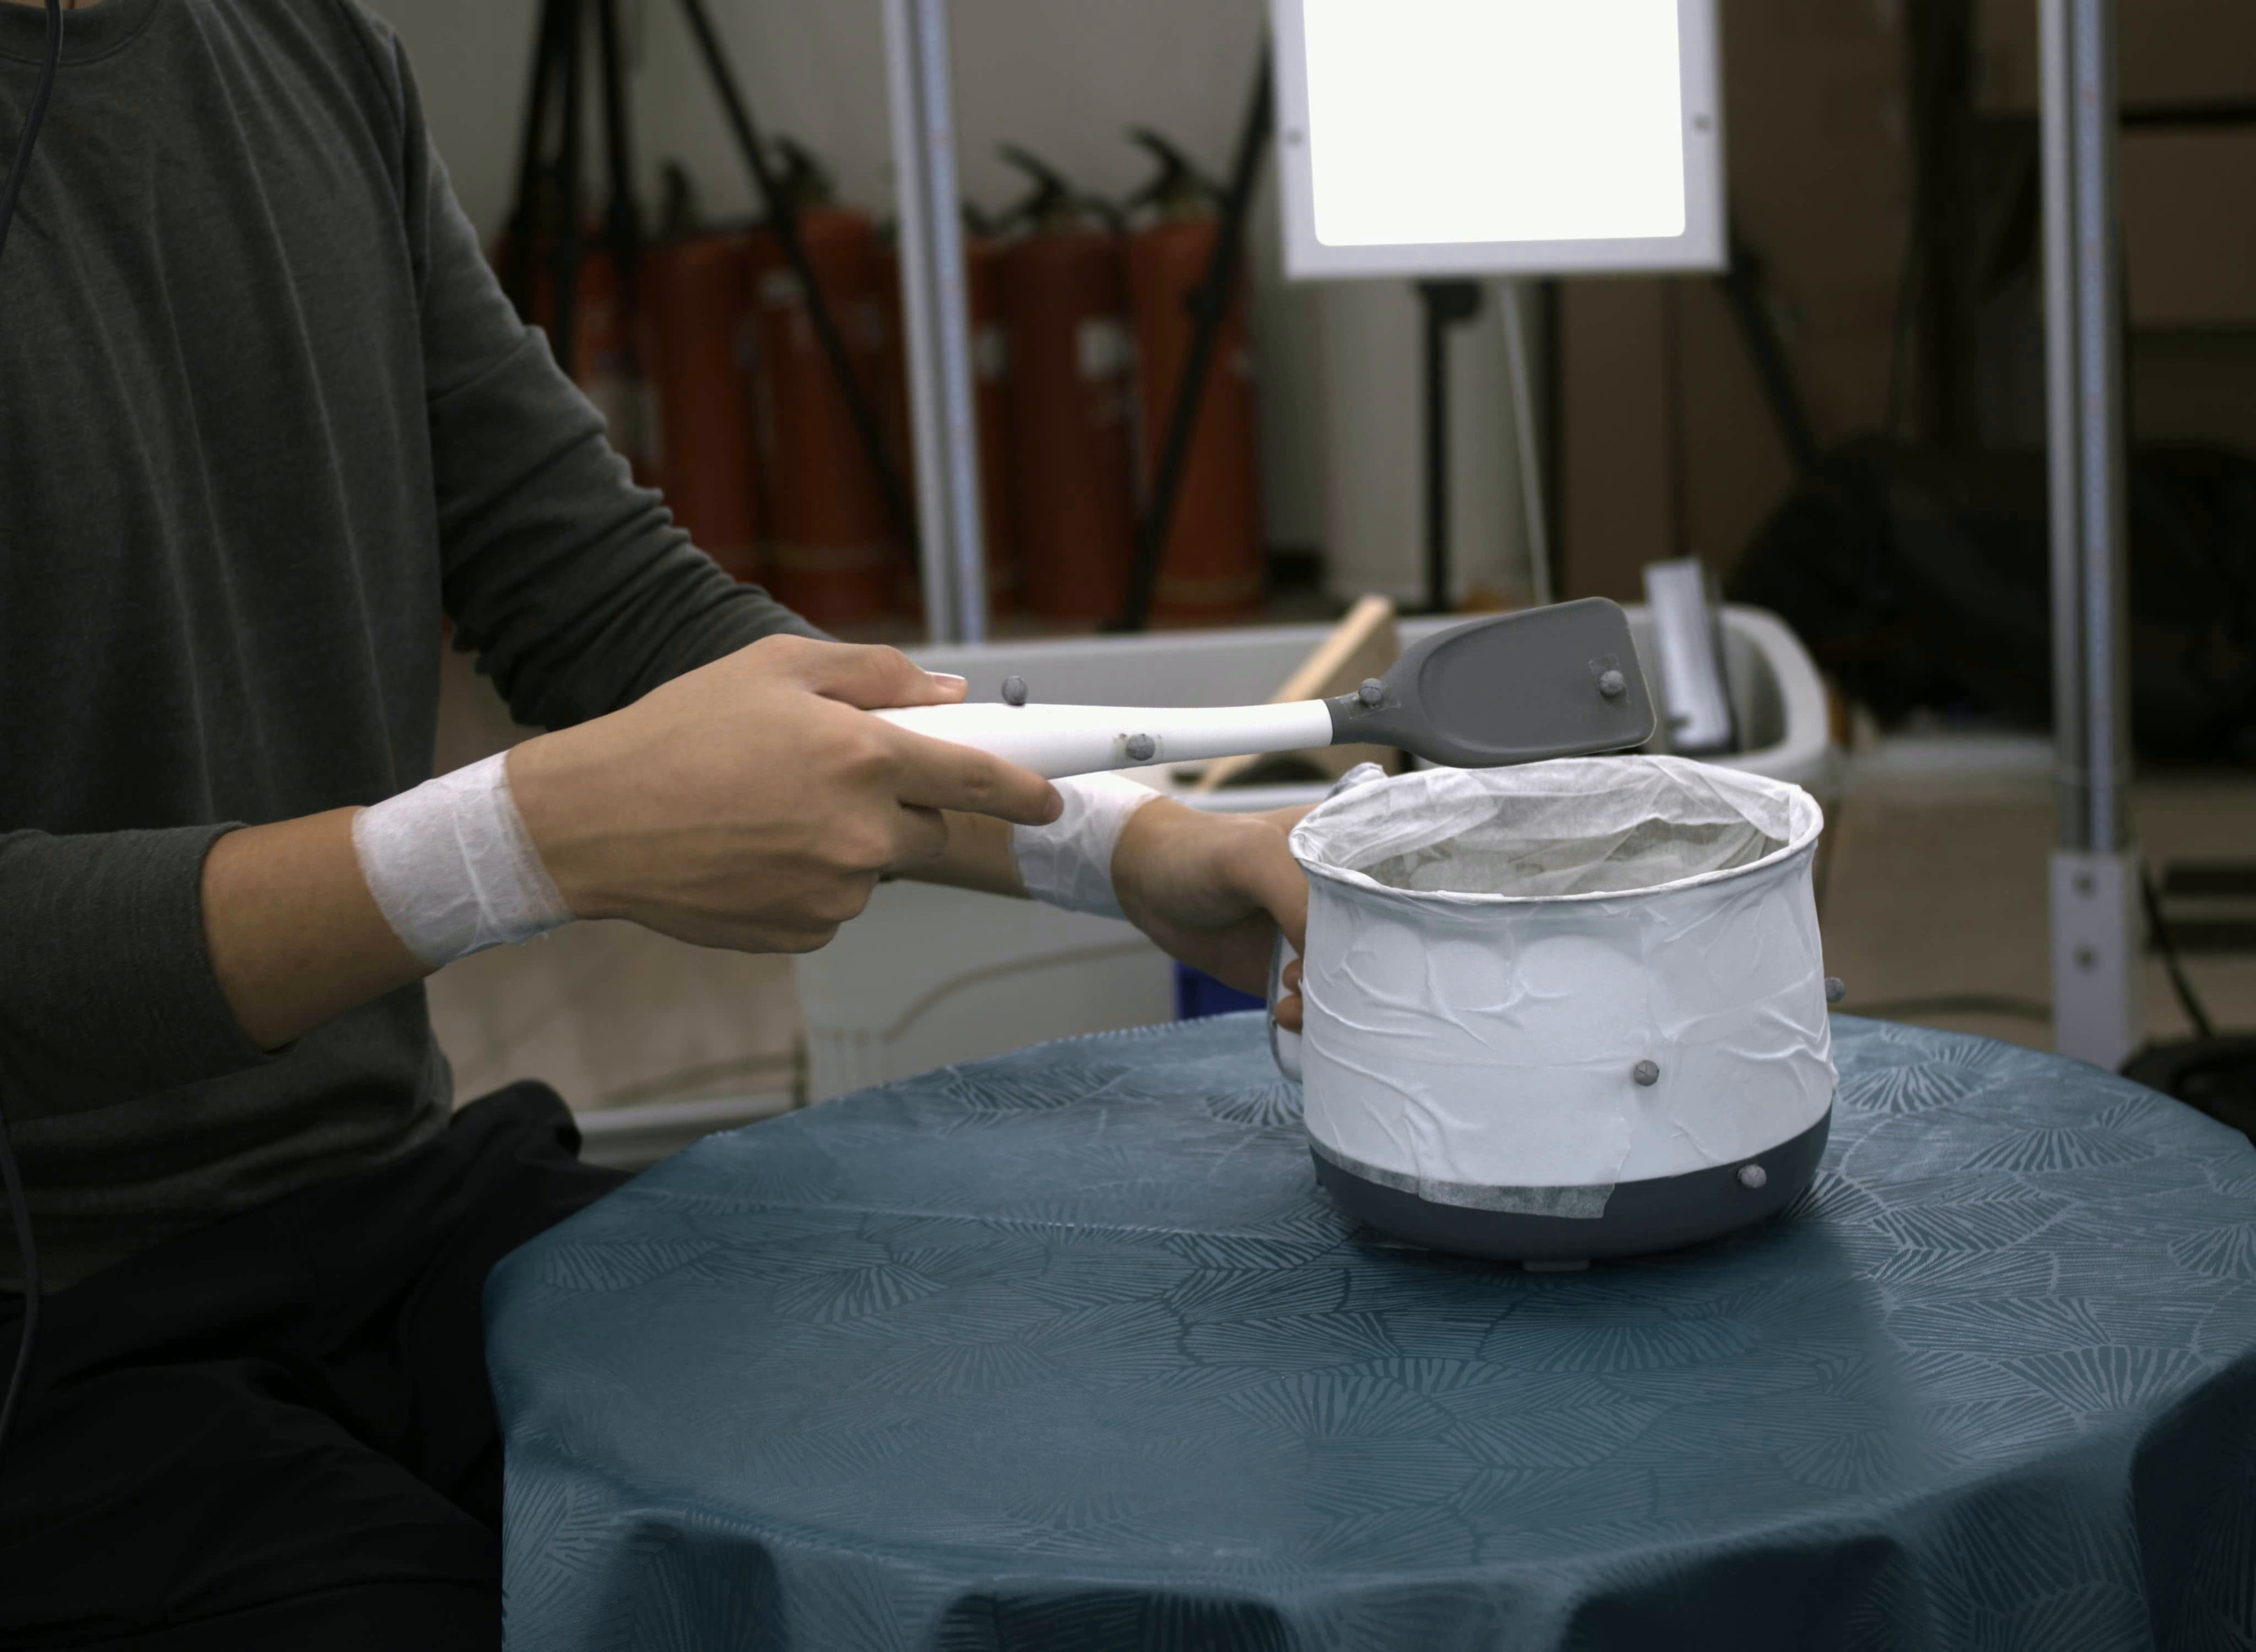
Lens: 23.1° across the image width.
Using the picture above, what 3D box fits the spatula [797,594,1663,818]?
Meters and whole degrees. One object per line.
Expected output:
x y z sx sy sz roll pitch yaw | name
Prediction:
0.035 -0.033 1.721 0.282 0.059 0.033 -6 -25 -22 | spatula

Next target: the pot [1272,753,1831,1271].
0.128 0.055 1.849 0.174 0.137 0.238 -14 18 -34 | pot
